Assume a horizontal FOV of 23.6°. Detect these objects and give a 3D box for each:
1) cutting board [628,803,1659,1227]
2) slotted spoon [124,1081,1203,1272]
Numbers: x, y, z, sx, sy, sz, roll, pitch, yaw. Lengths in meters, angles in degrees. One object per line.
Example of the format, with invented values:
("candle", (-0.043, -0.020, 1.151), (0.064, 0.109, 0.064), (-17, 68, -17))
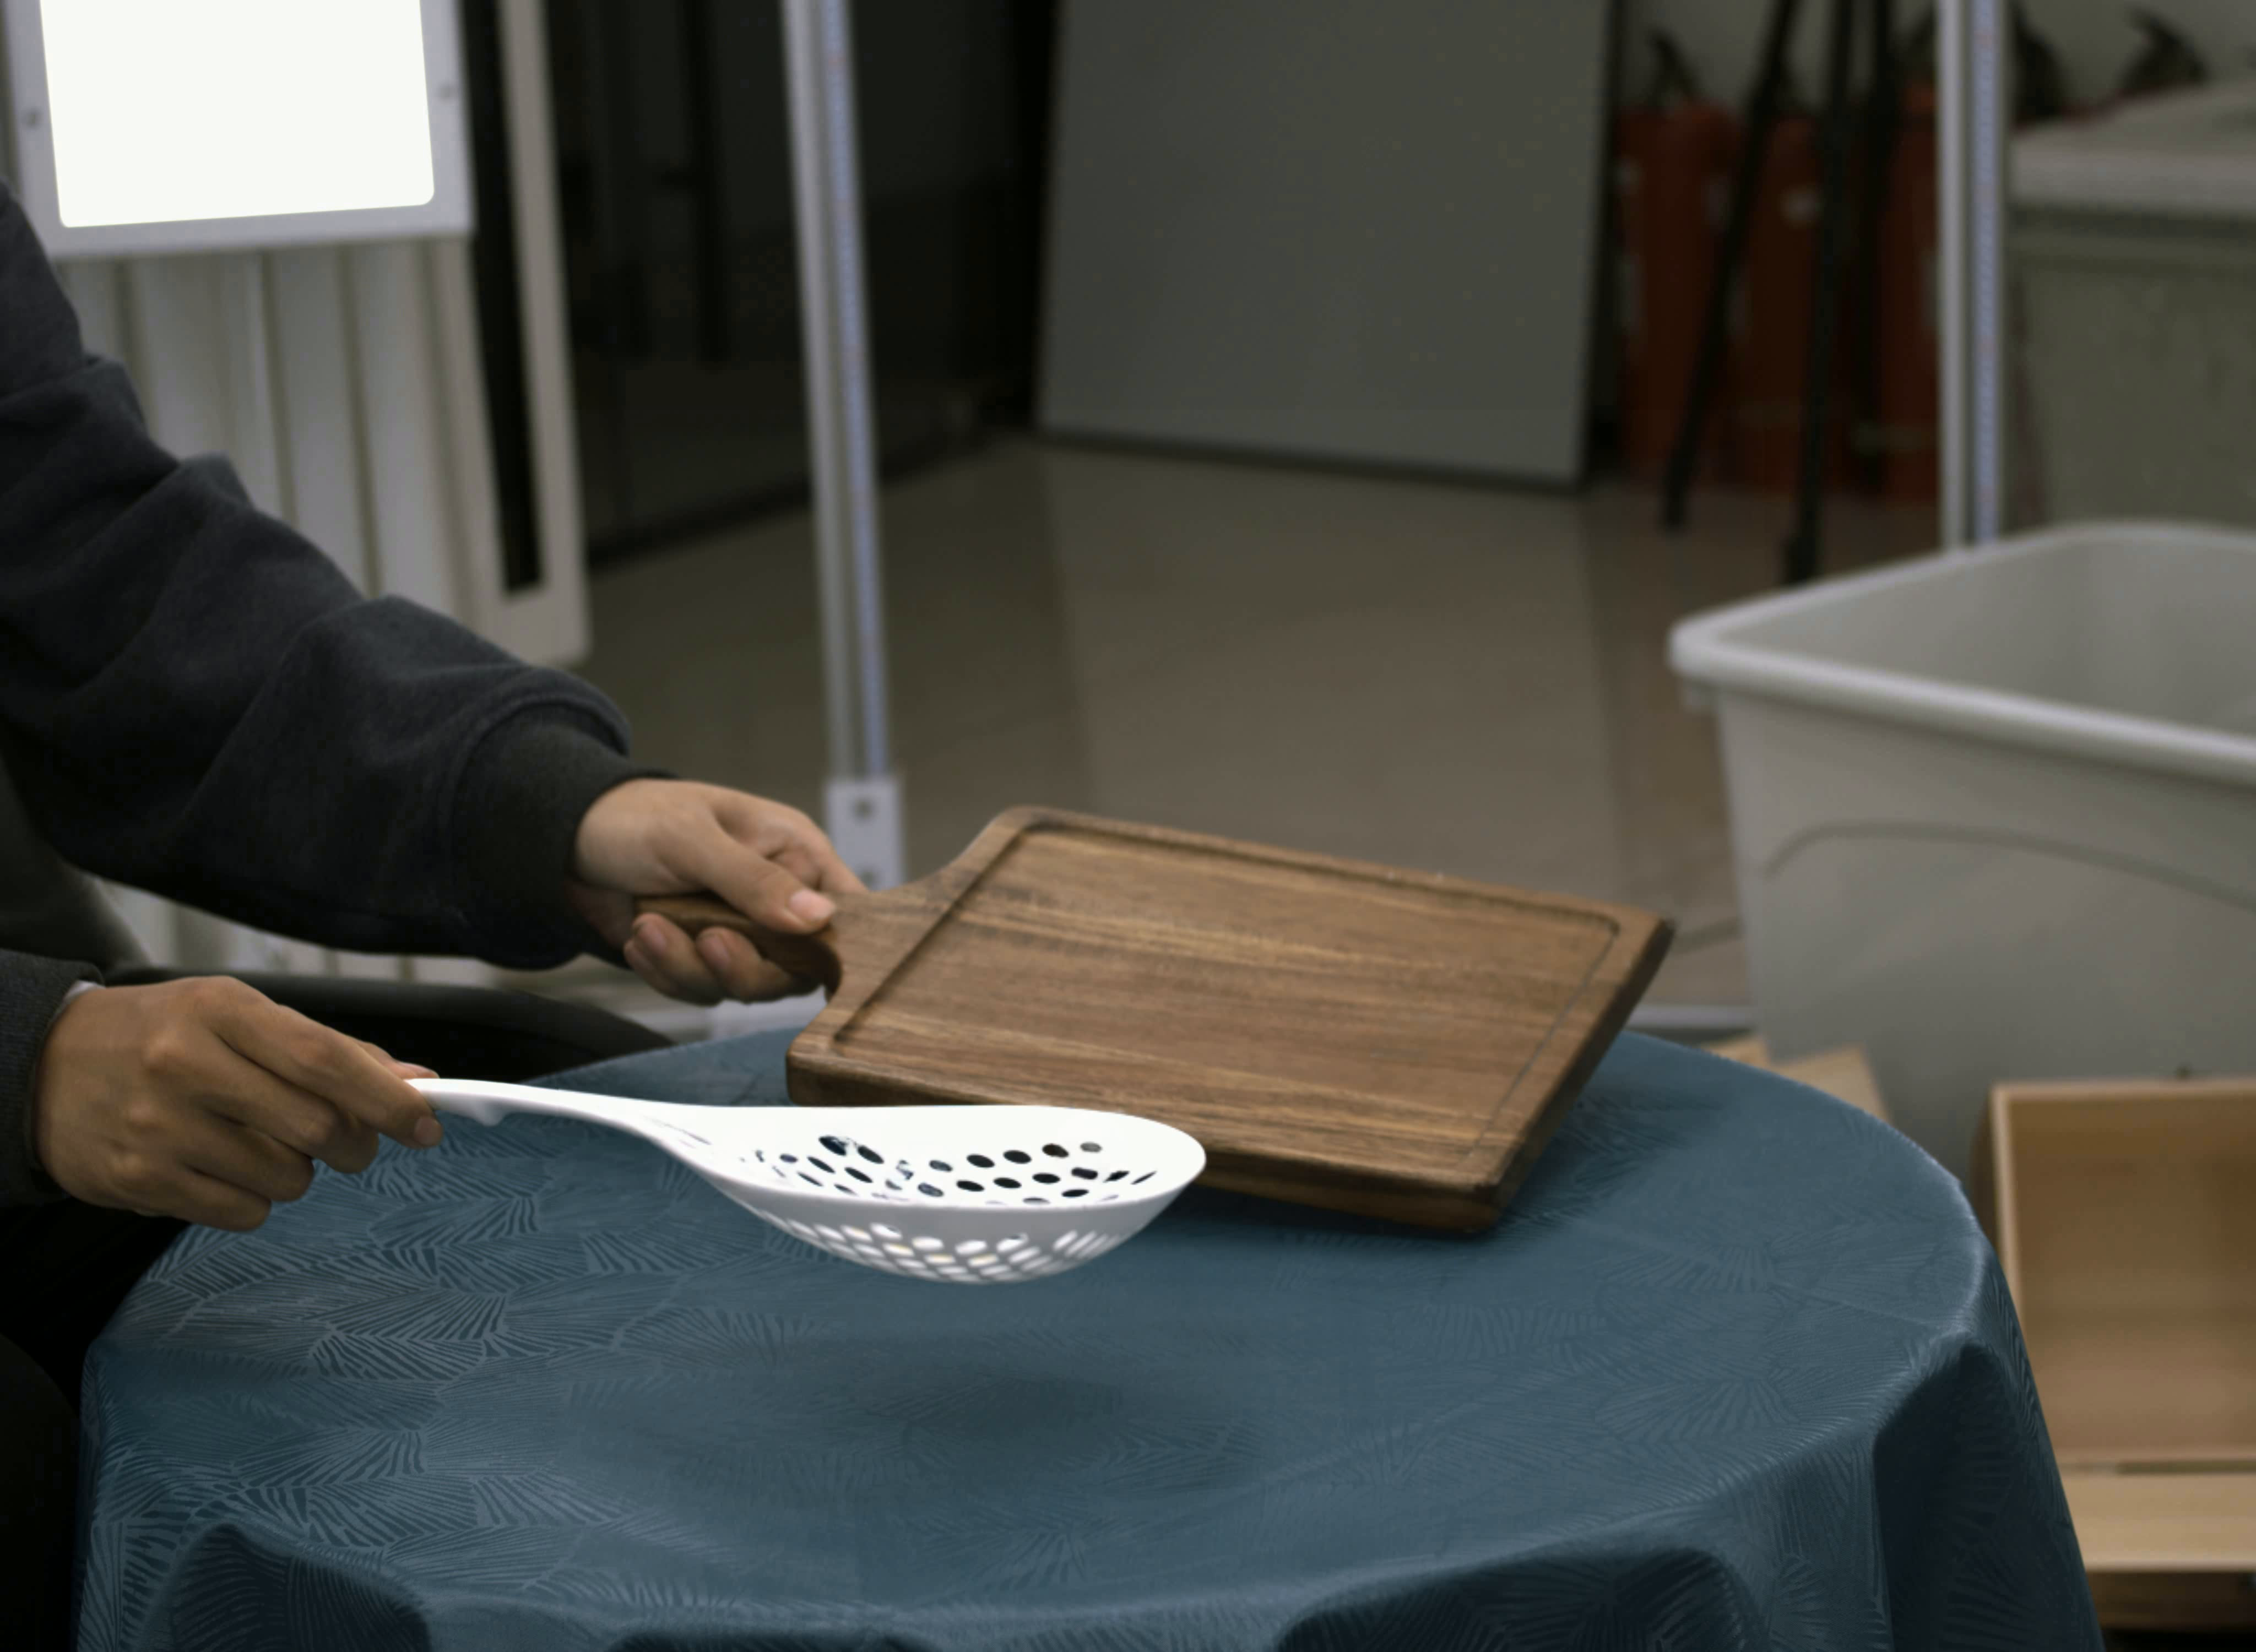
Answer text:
("cutting board", (-0.011, 0.052, 1.827), (0.352, 0.023, 0.199), (9, 30, 22))
("slotted spoon", (-0.145, 0.094, 1.613), (0.348, 0.051, 0.135), (8, 11, 23))
